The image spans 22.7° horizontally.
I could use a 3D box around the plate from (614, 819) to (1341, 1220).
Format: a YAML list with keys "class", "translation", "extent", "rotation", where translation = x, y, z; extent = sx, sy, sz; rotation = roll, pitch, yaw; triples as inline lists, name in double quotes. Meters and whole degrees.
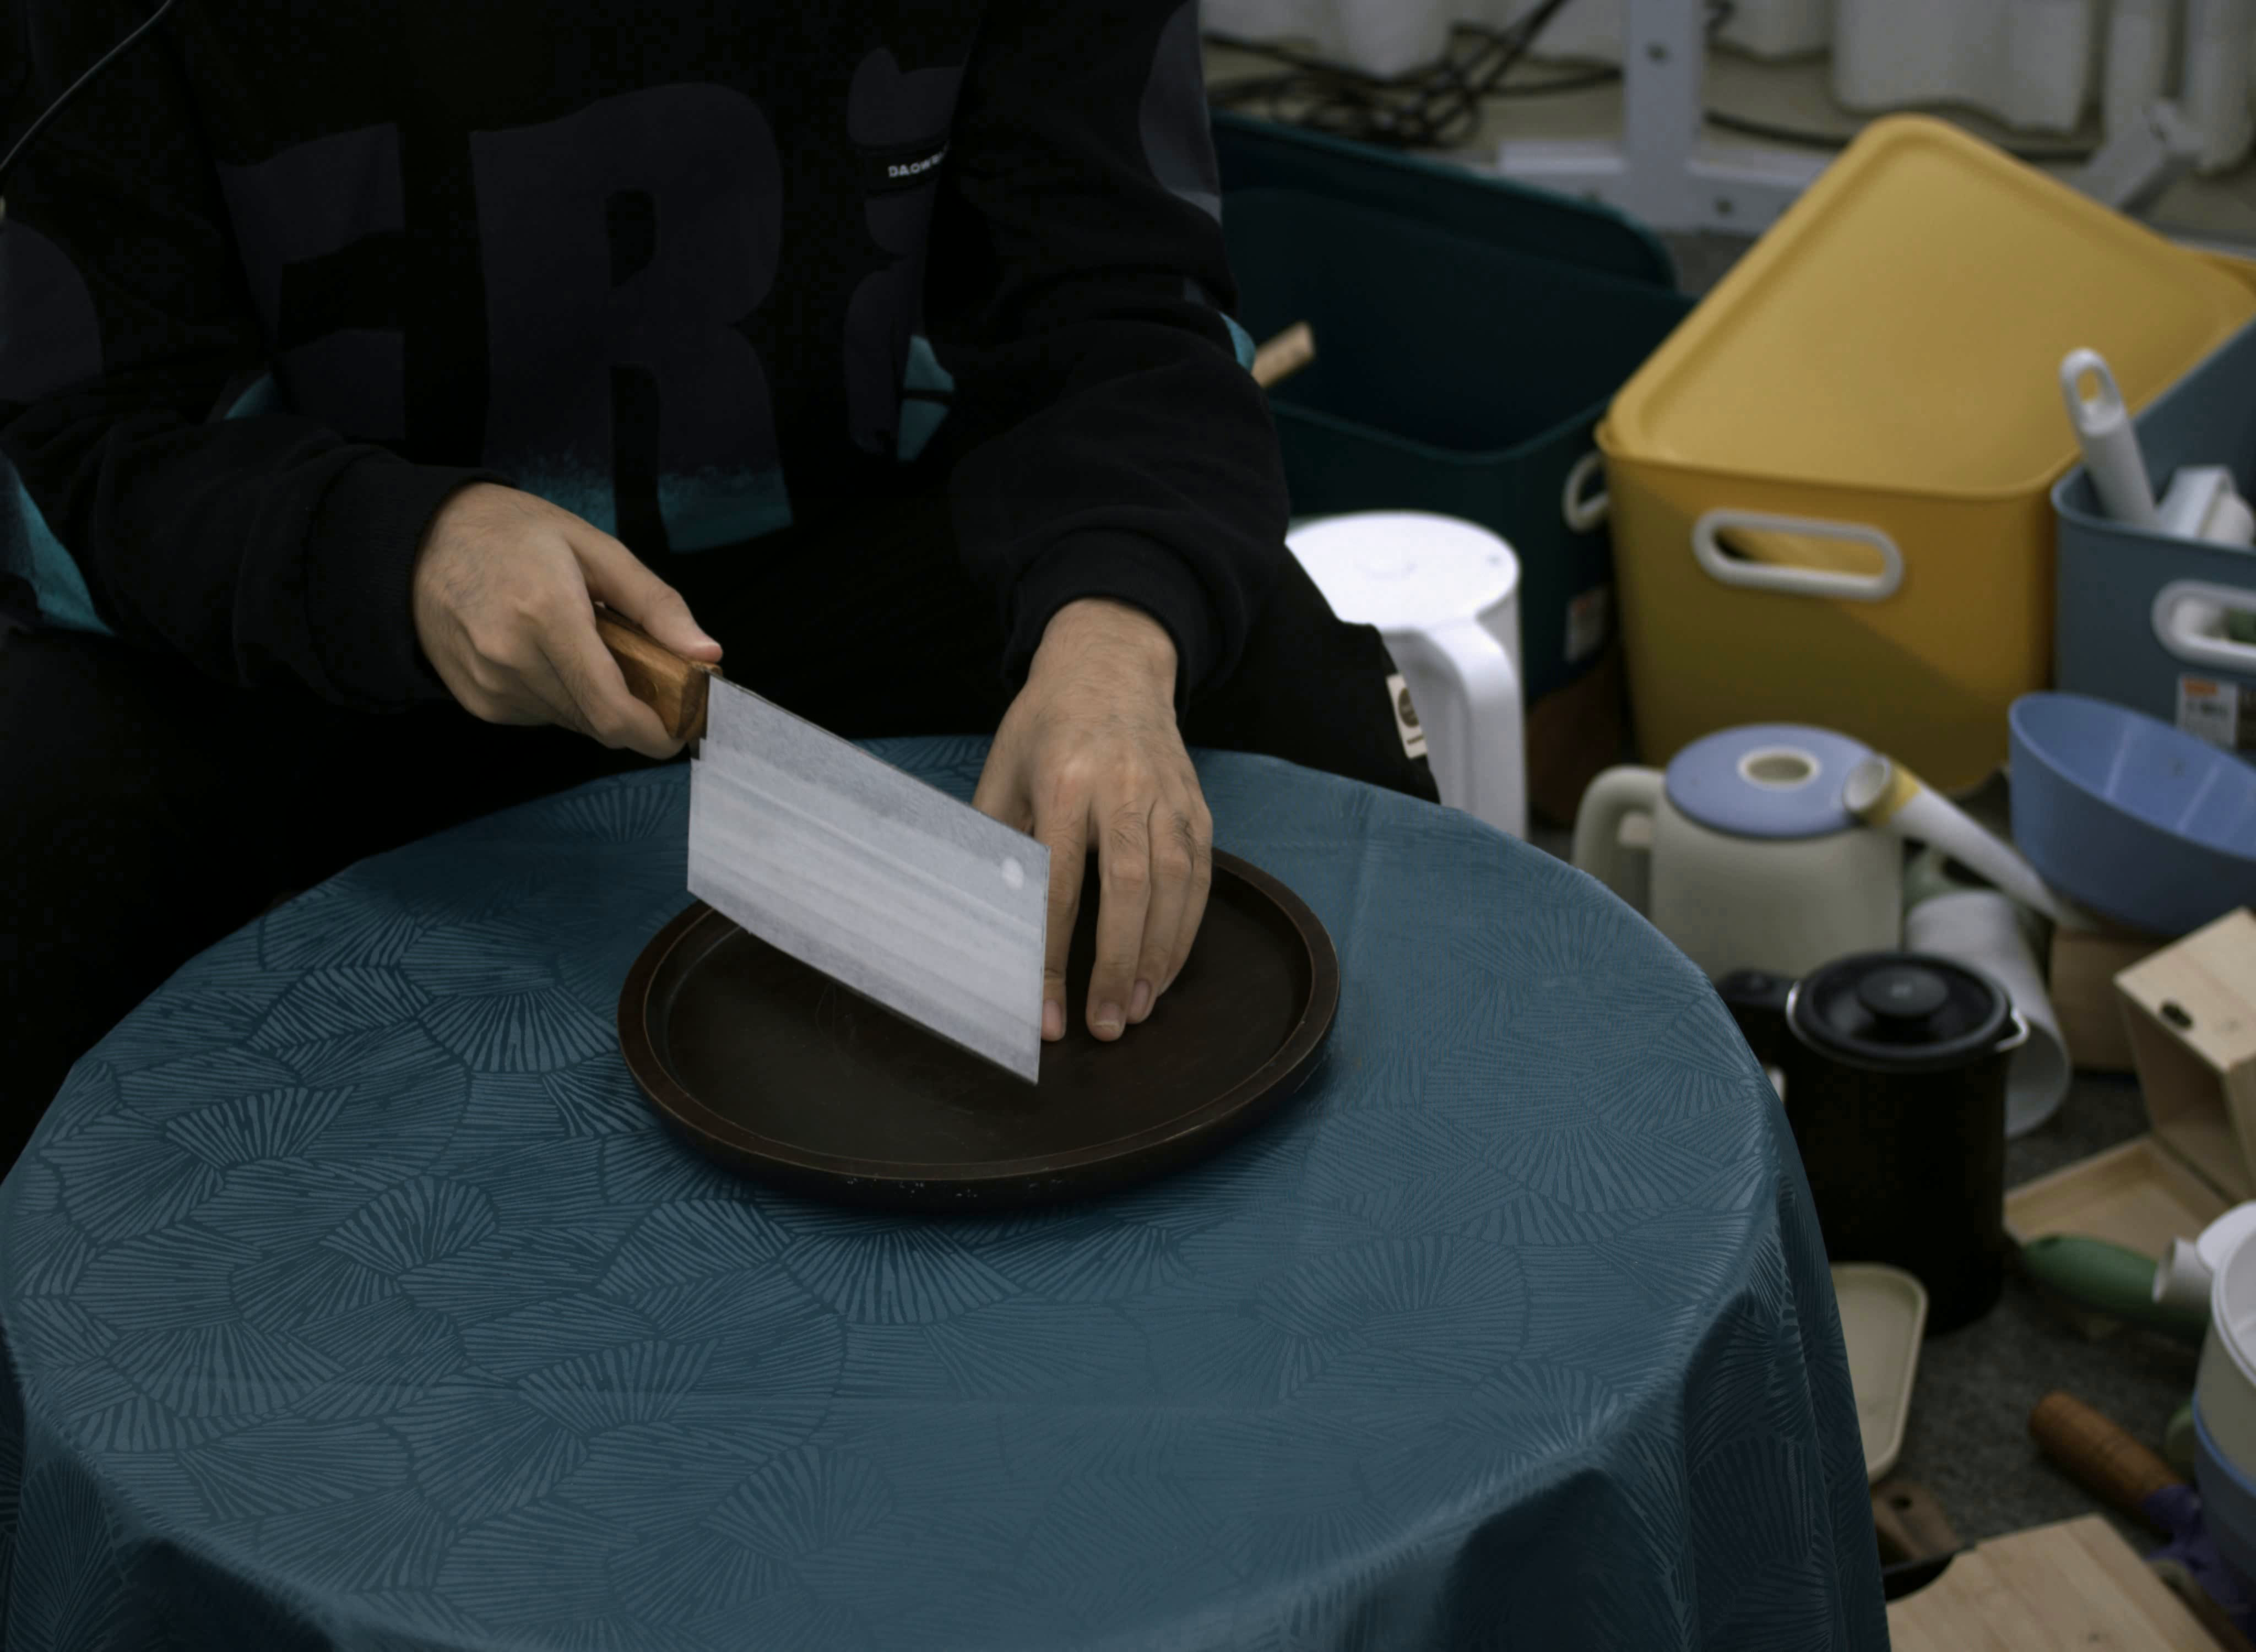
- class: "plate"
  translation: [-0.052, 0.065, 1.949]
  extent: [0.253, 0.029, 0.259]
  rotation: [-3, 29, 2]

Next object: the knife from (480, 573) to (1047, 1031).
- class: "knife"
  translation: [-0.130, -0.007, 1.960]
  extent: [0.021, 0.092, 0.305]
  rotation: [-17, 31, -39]
